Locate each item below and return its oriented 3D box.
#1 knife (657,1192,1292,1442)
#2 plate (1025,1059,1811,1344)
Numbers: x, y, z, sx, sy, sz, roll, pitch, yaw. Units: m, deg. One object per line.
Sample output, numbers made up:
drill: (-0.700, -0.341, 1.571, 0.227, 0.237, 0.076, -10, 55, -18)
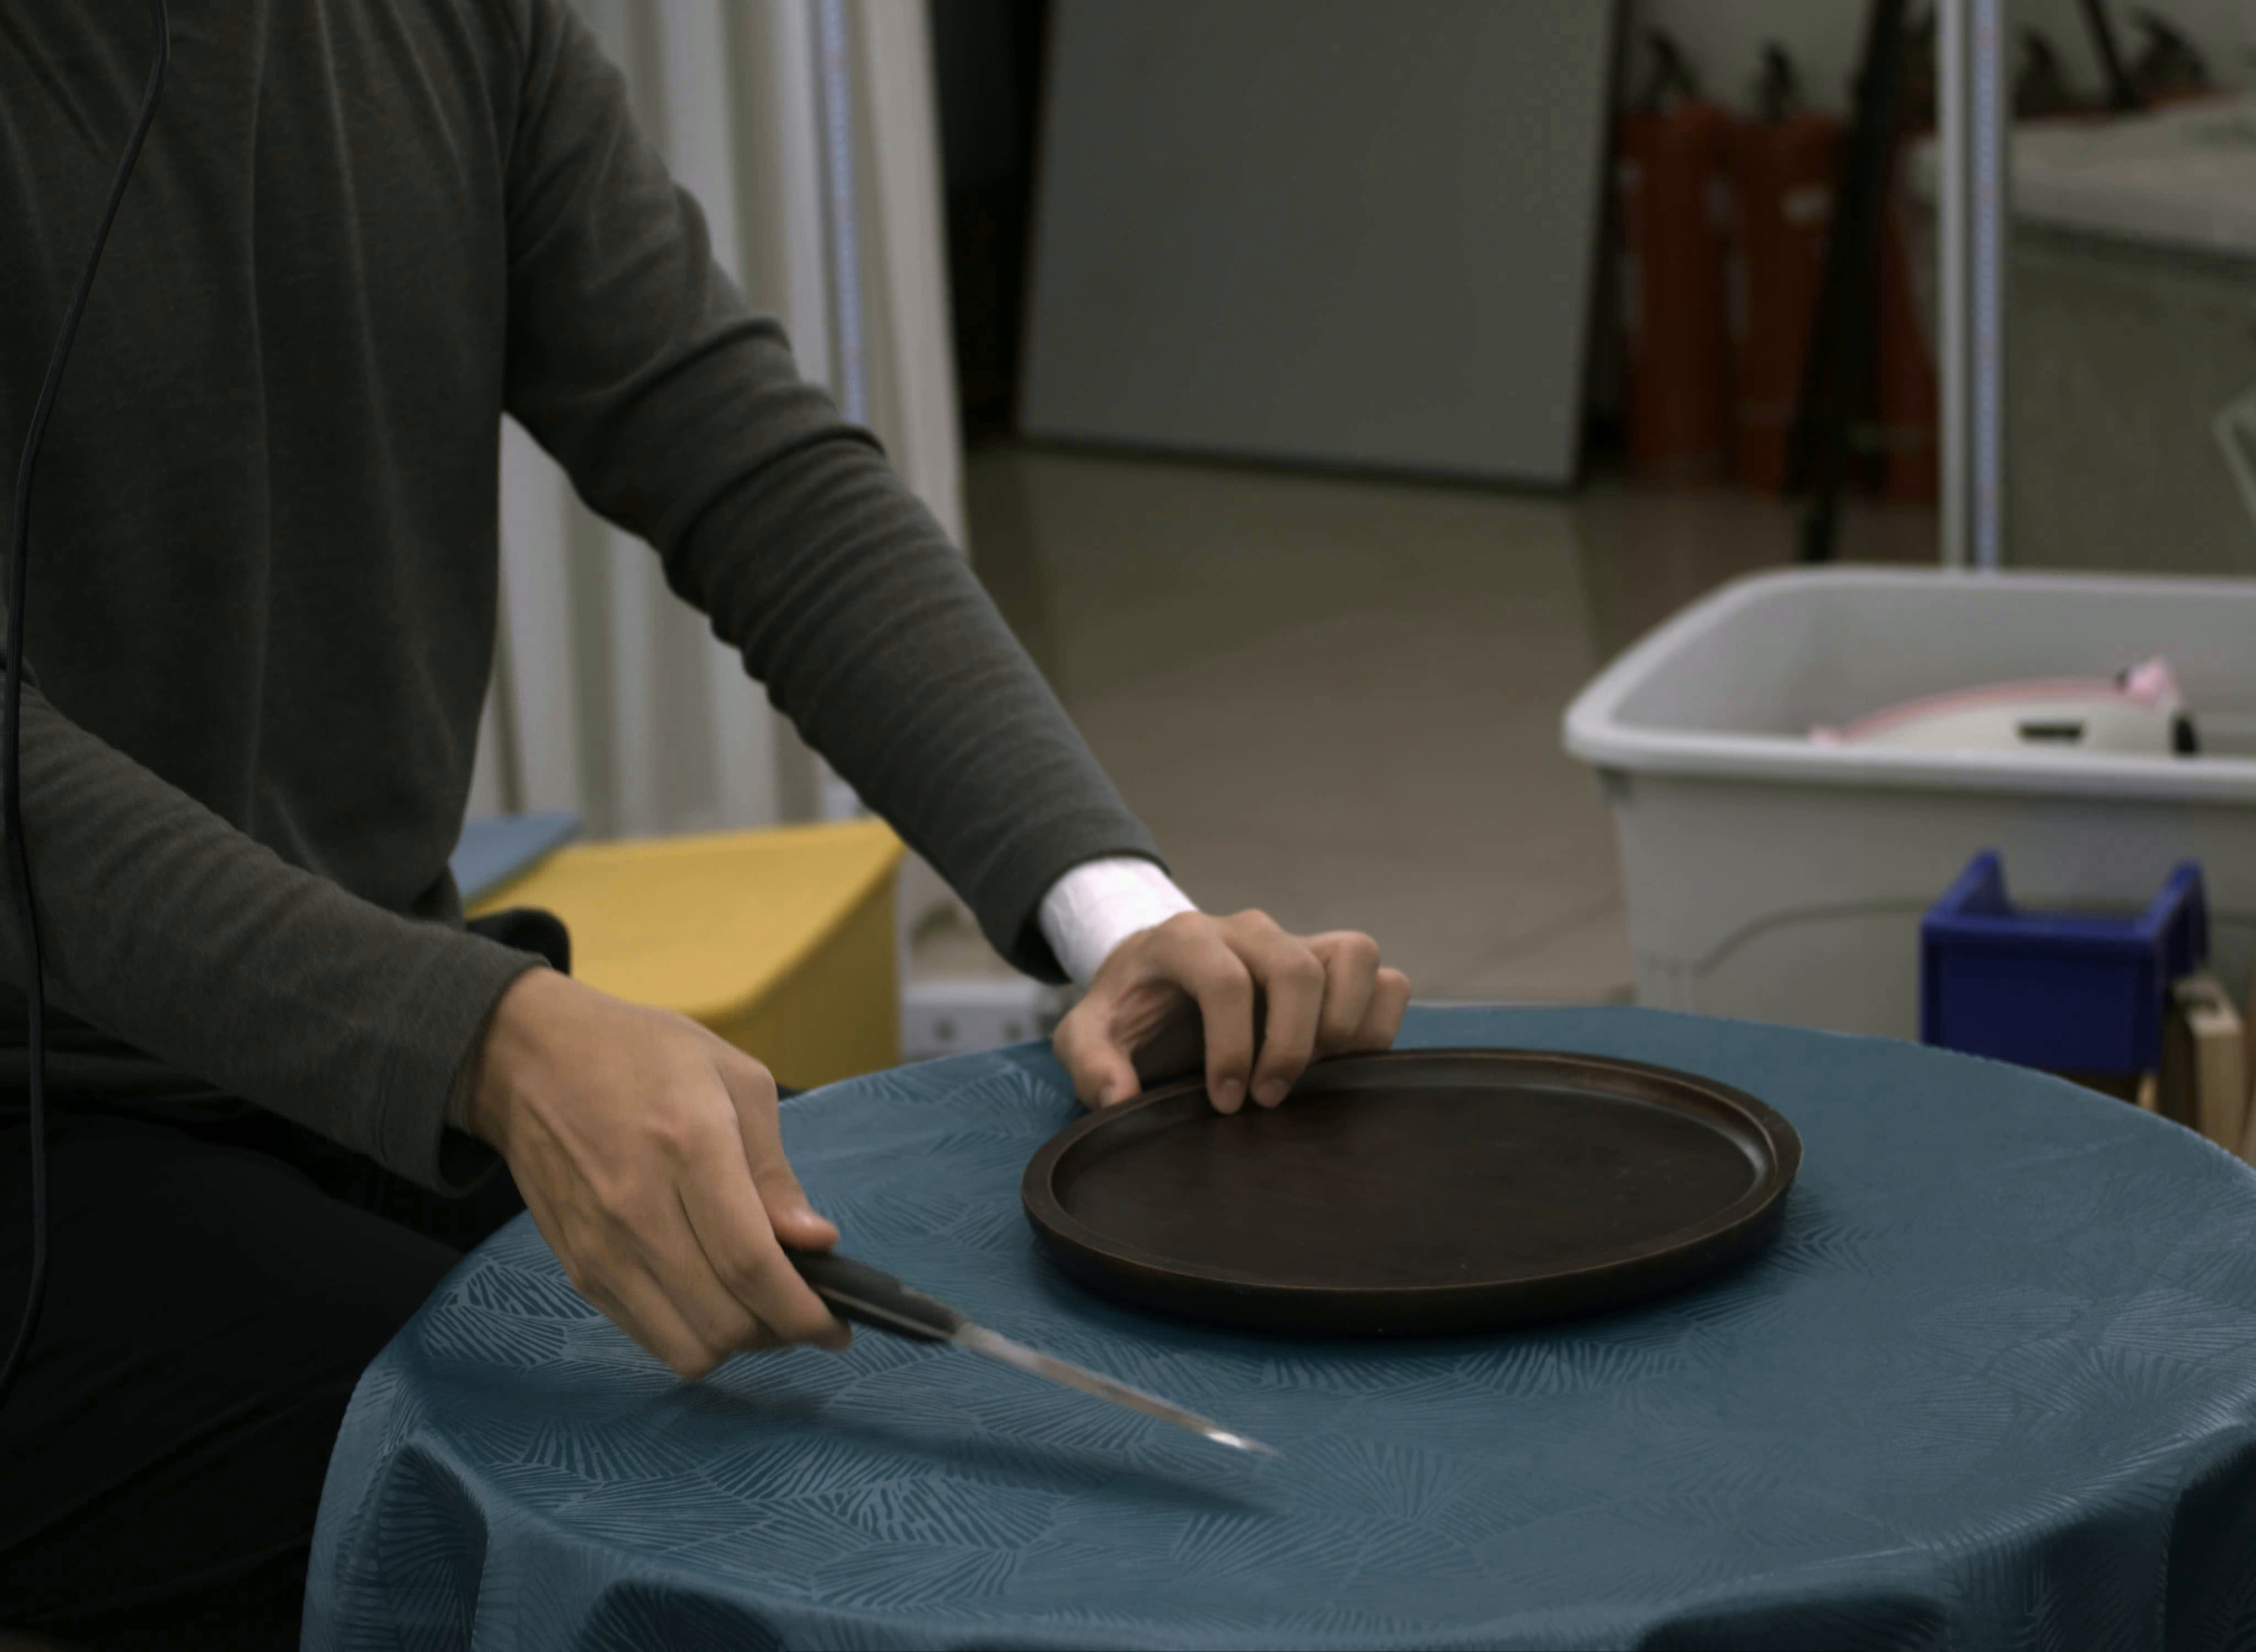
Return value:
knife: (-0.049, 0.142, 1.554, 0.240, 0.016, 0.024, 16, 7, 36)
plate: (0.092, 0.117, 1.719, 0.251, 0.029, 0.255, -3, 14, 0)
